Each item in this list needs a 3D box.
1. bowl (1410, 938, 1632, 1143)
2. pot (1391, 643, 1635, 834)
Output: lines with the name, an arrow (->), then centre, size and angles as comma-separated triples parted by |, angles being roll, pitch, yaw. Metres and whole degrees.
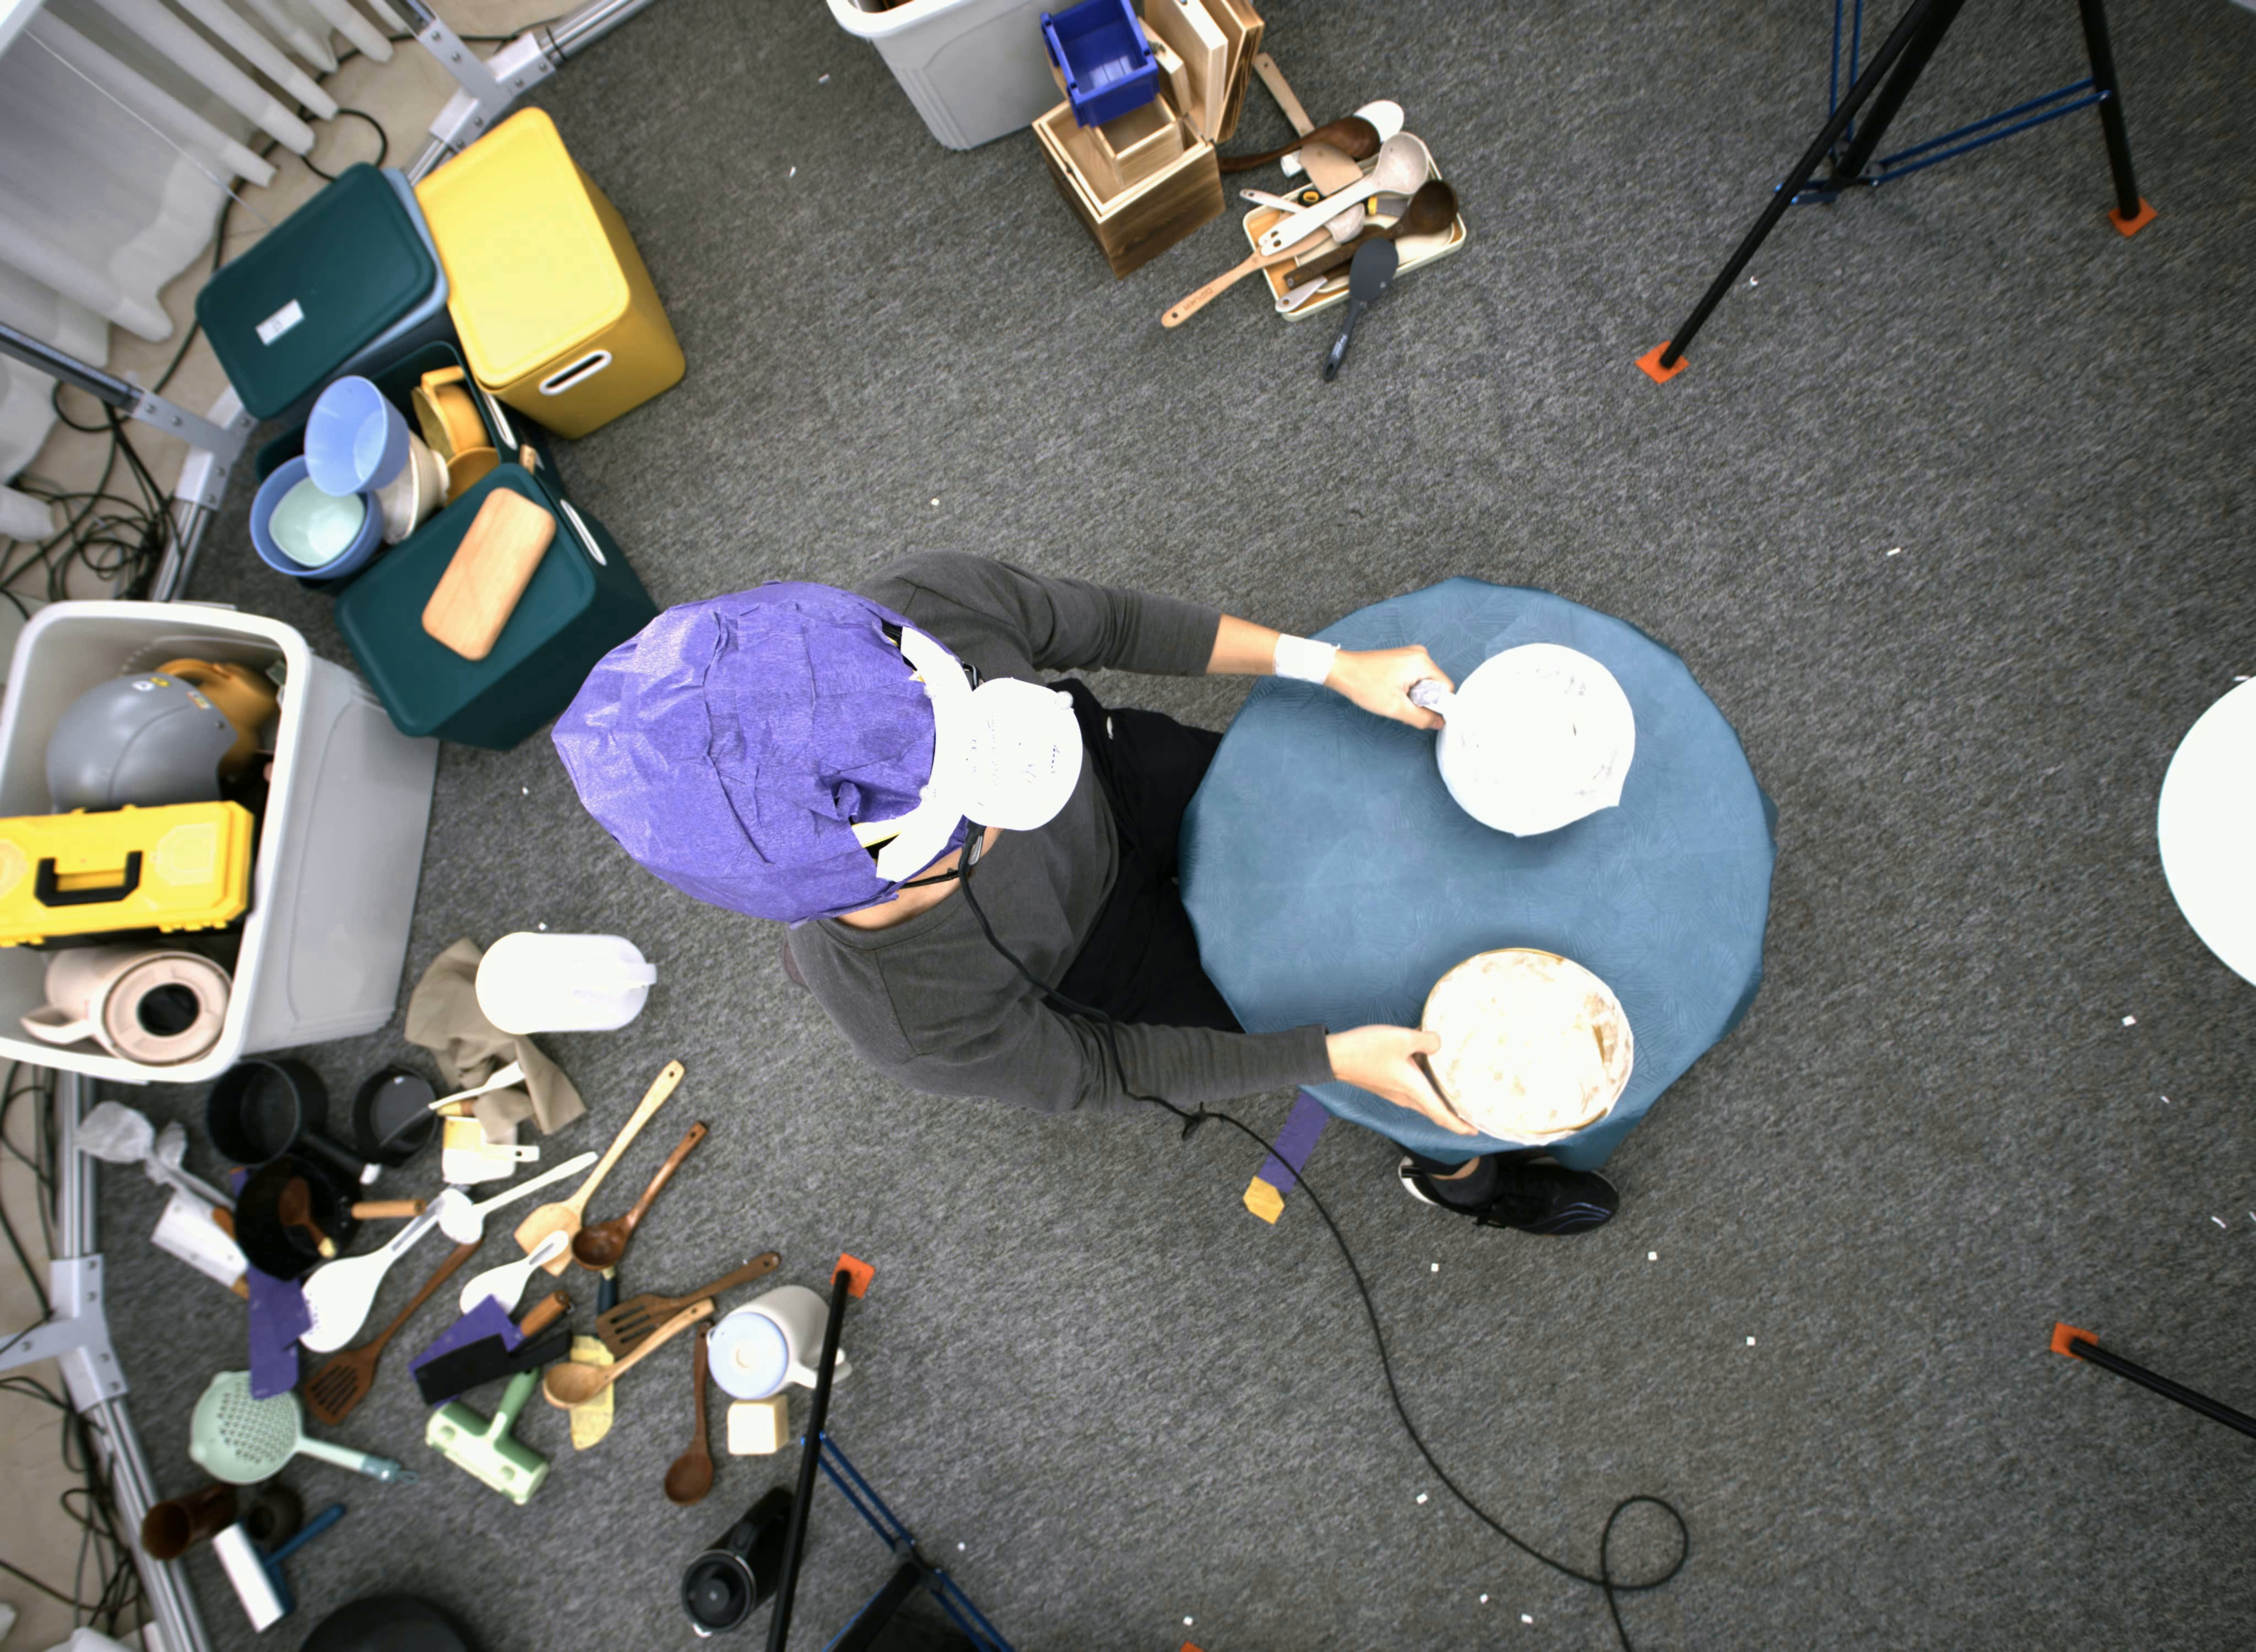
bowl -> 0.384, 0.224, 1.370 | 0.215, 0.096, 0.209 | -3, 59, 5
pot -> 0.377, -0.096, 1.376 | 0.233, 0.136, 0.179 | 23, 90, 9
